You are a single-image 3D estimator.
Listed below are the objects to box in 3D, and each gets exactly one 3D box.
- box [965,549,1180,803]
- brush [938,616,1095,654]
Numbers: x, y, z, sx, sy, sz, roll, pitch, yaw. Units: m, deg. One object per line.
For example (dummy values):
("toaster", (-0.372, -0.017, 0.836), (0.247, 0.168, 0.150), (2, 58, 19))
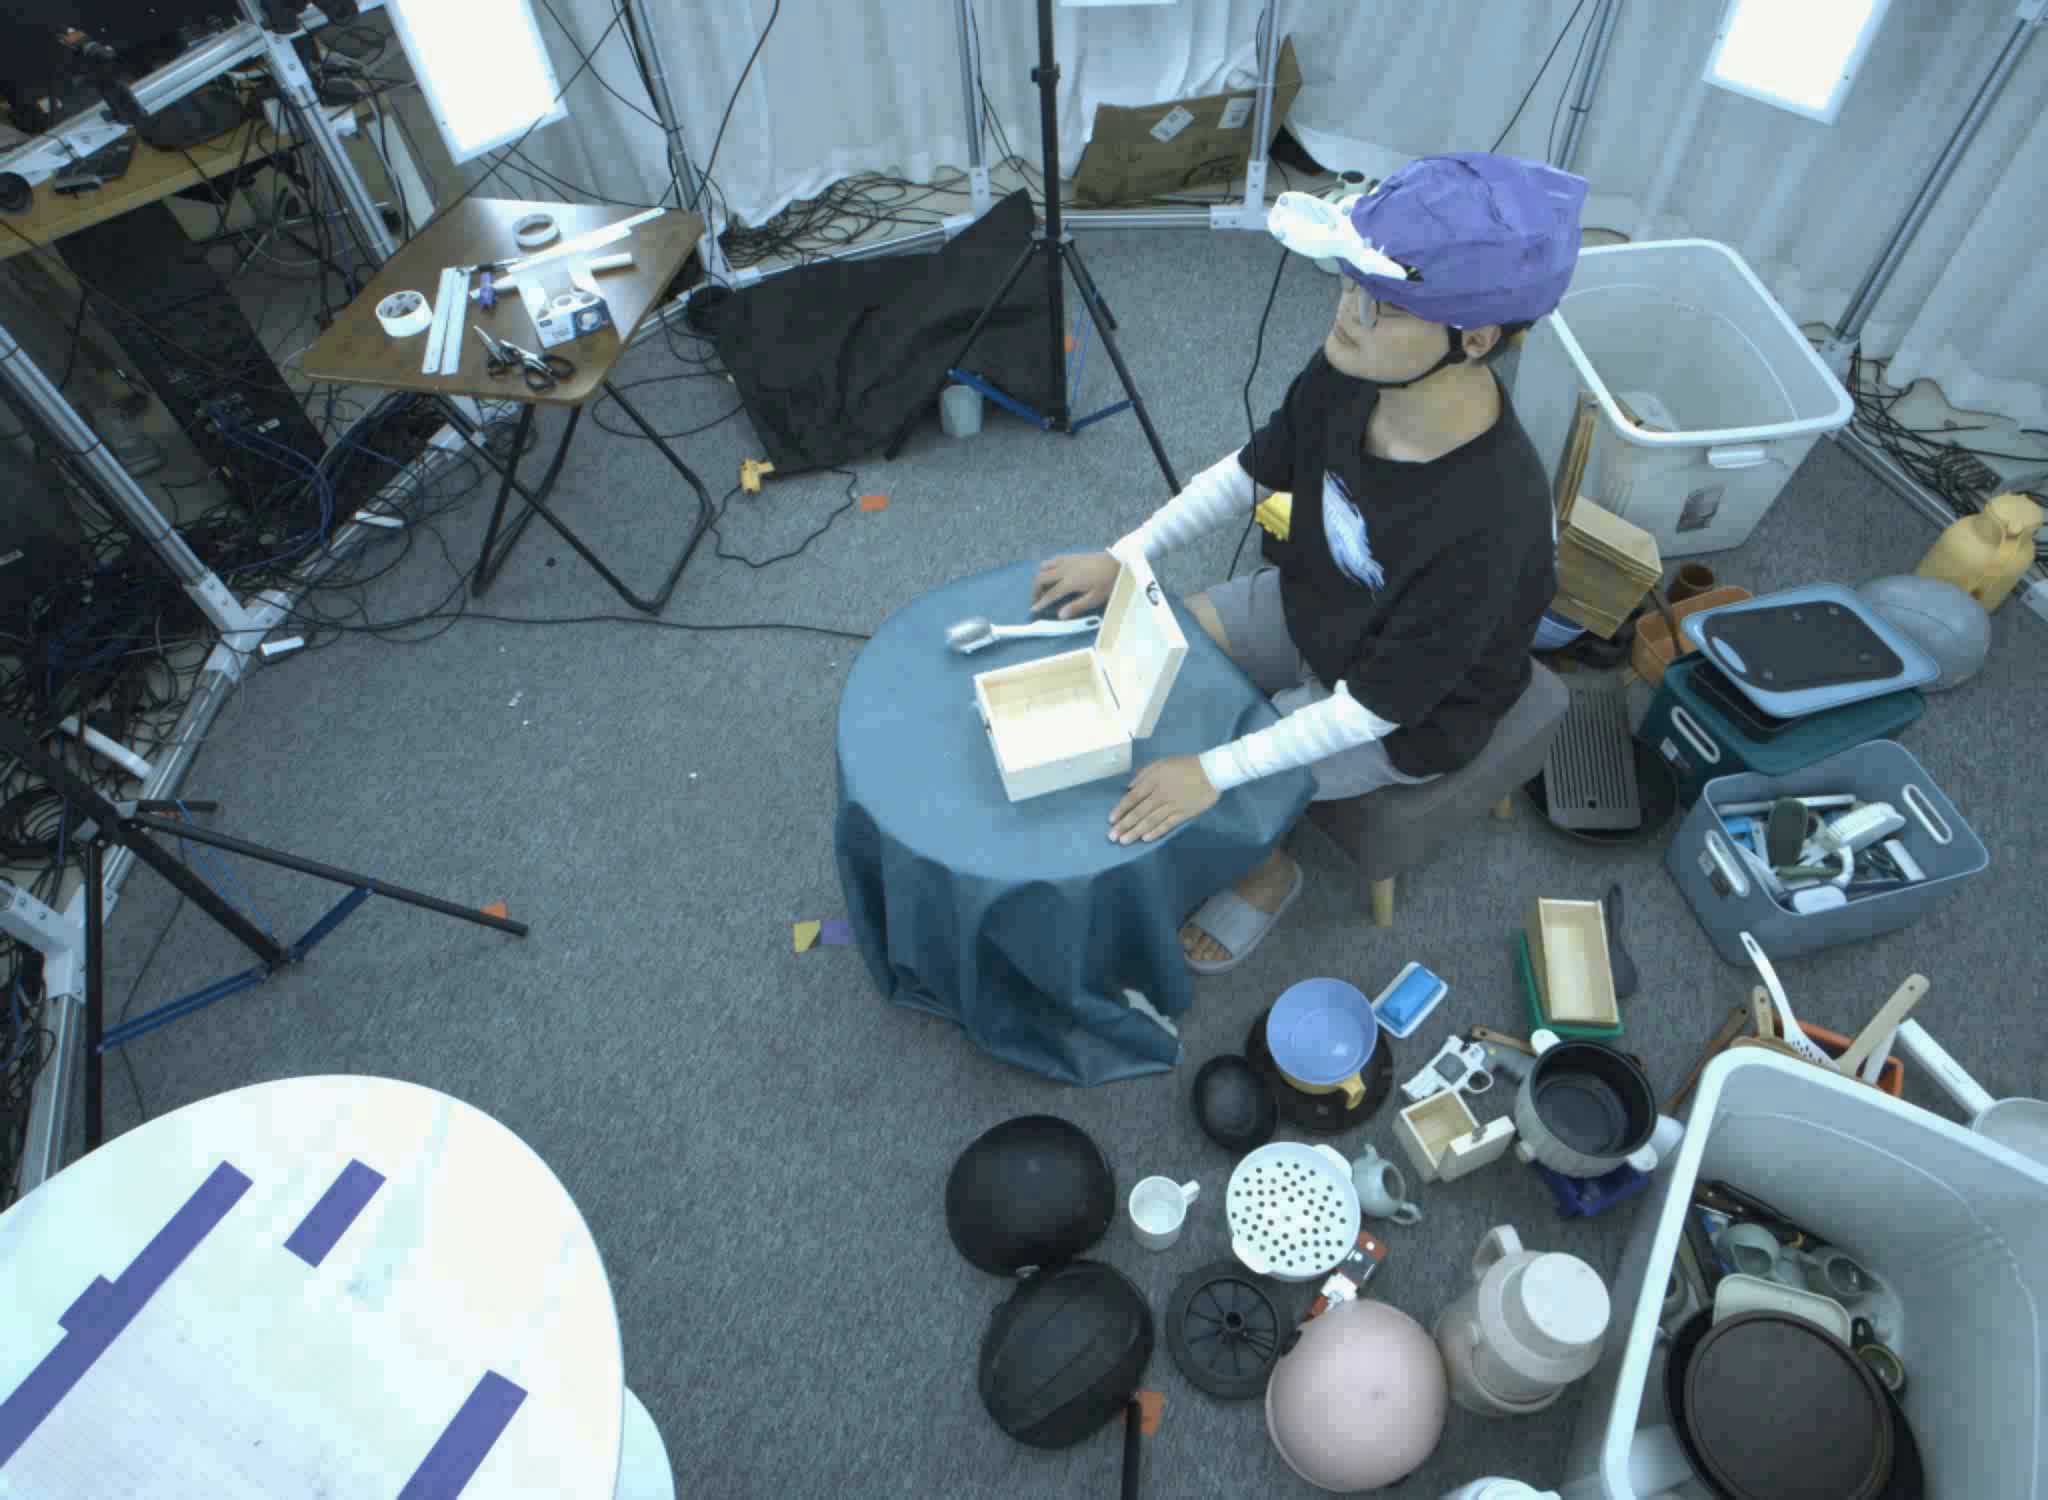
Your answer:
("box", (0.055, -0.101, 1.696), (0.267, 0.256, 0.178), (-16, 53, -8))
("brush", (-0.011, -0.192, 1.886), (0.244, 0.051, 0.034), (-10, 53, -4))
